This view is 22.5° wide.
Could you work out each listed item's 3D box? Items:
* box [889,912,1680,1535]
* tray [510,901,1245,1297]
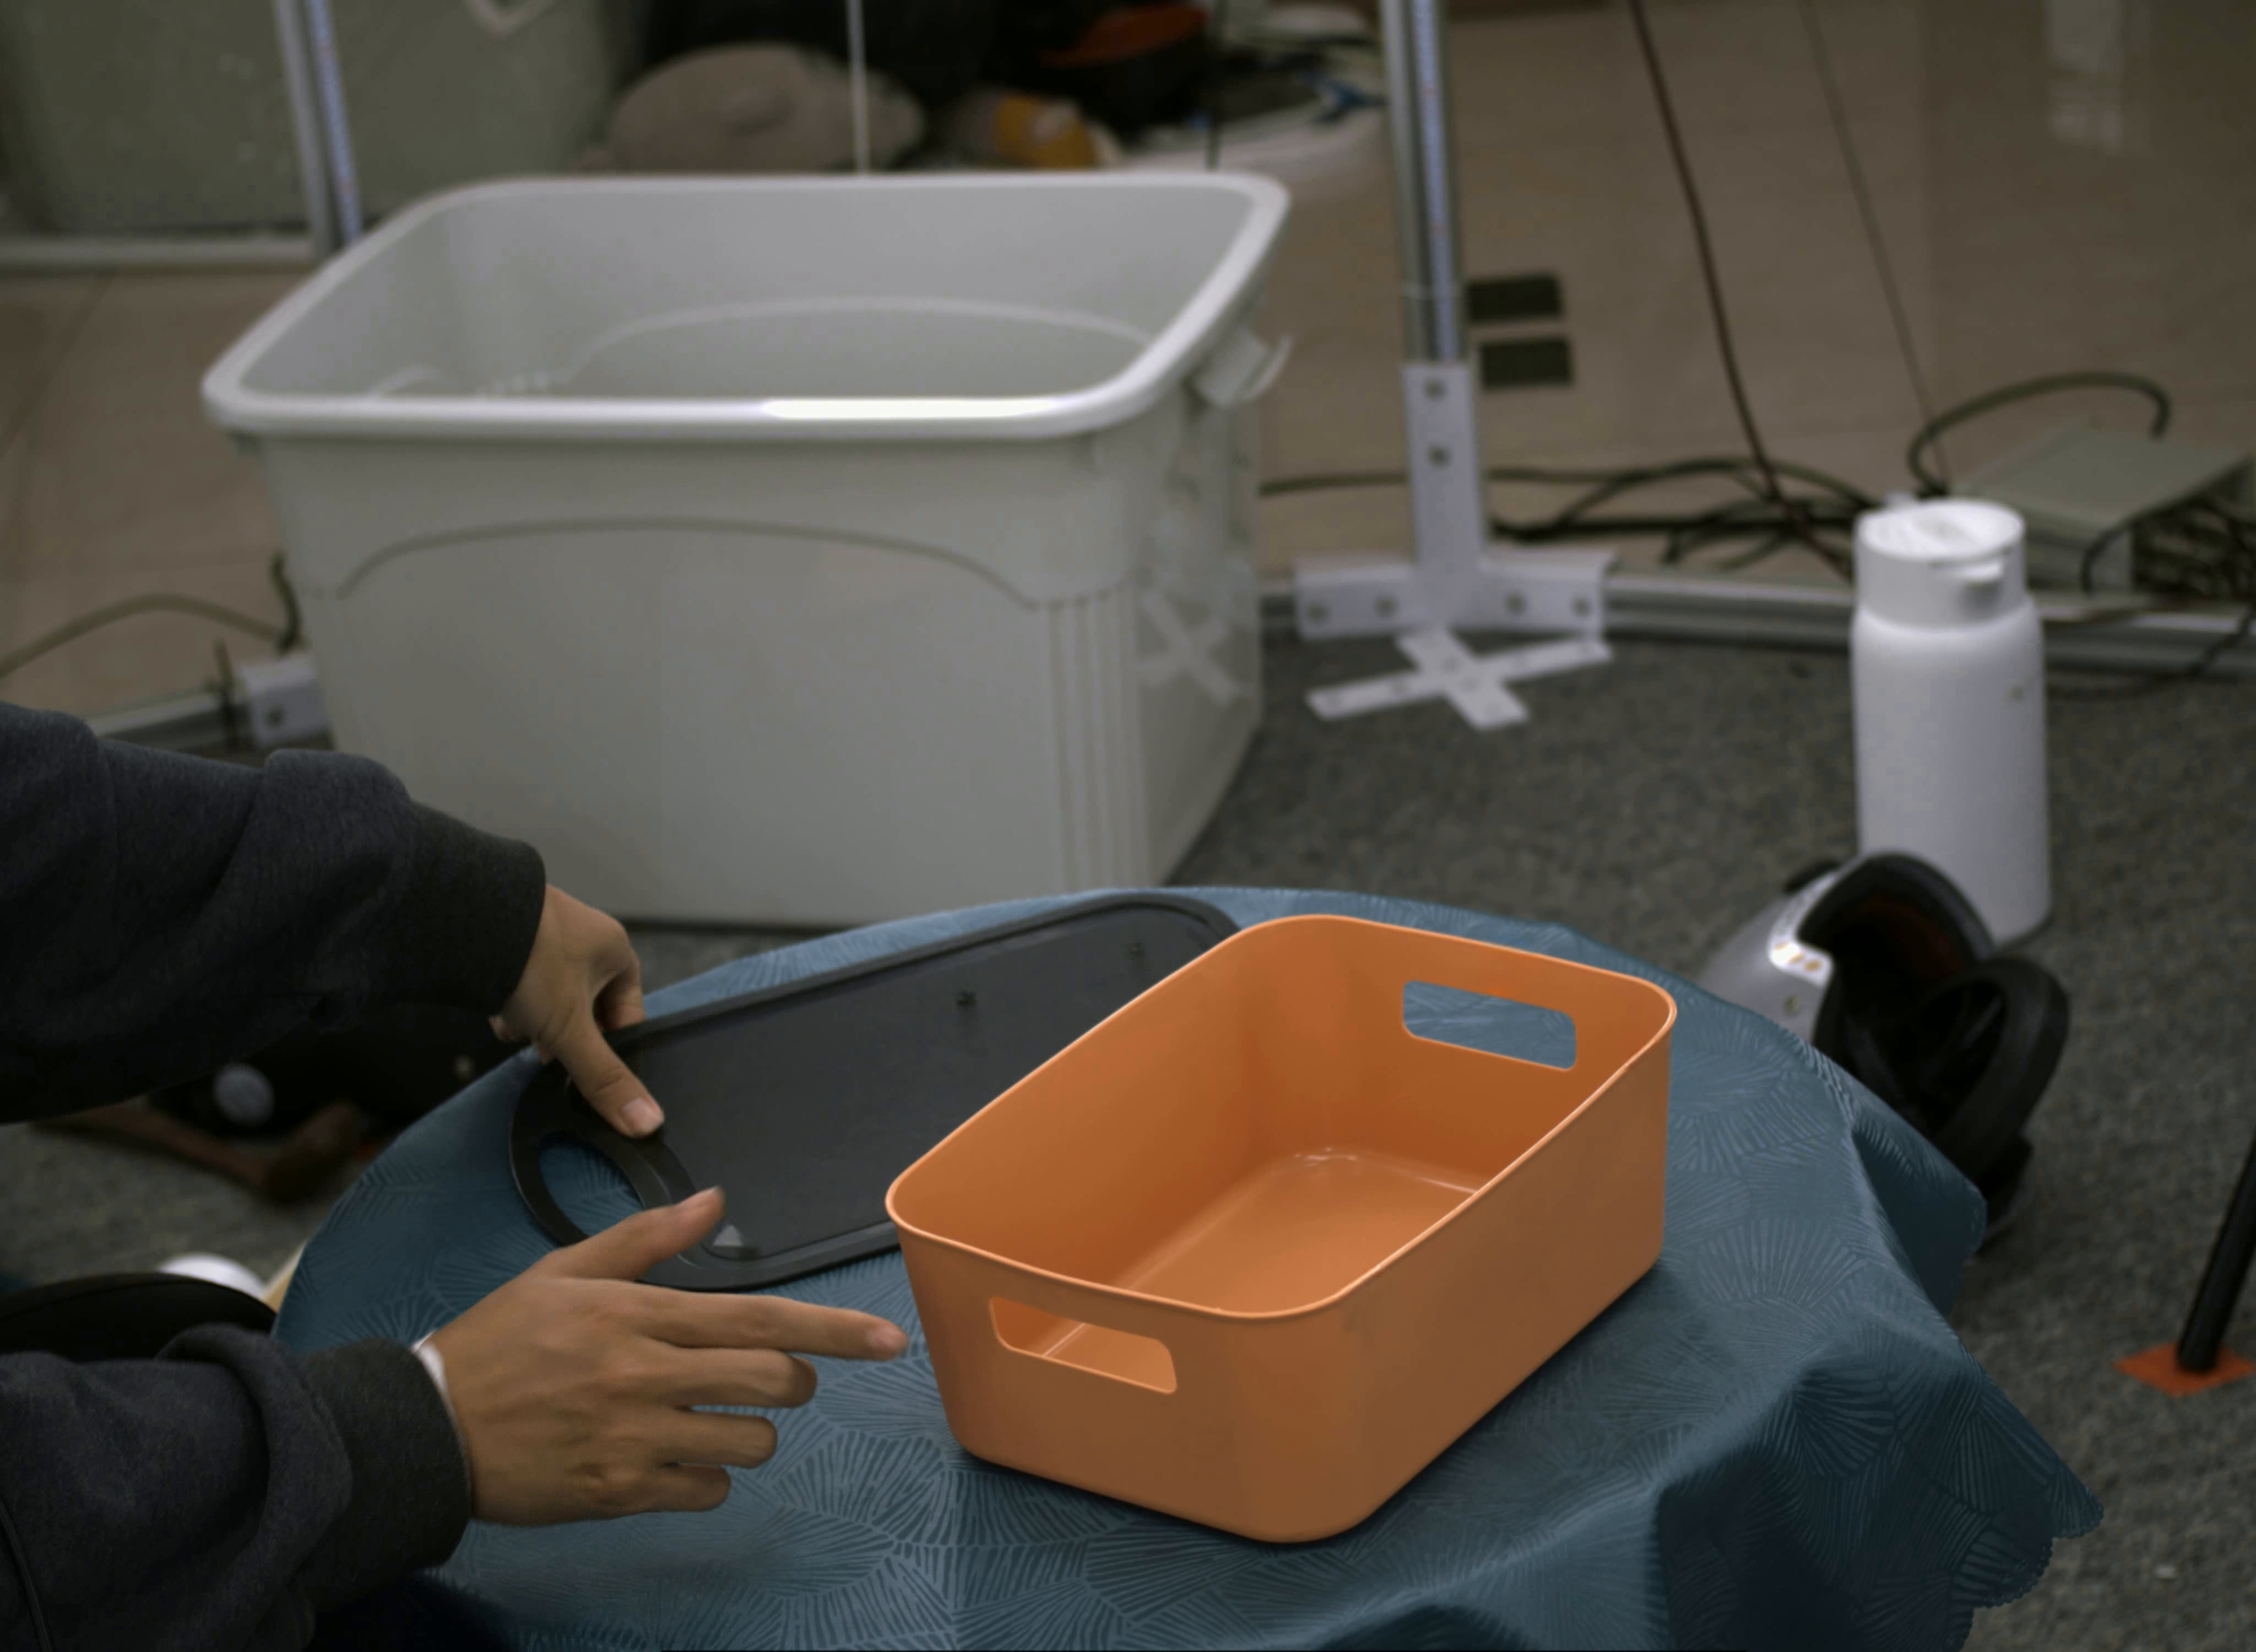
[{"bbox_3d":[0.060,0.139,2.006,0.198,0.104,0.270,12,31,34],"label":"box"},{"bbox_3d":[-0.080,0.104,2.223,0.324,0.010,0.208,-15,29,-18],"label":"tray"}]
